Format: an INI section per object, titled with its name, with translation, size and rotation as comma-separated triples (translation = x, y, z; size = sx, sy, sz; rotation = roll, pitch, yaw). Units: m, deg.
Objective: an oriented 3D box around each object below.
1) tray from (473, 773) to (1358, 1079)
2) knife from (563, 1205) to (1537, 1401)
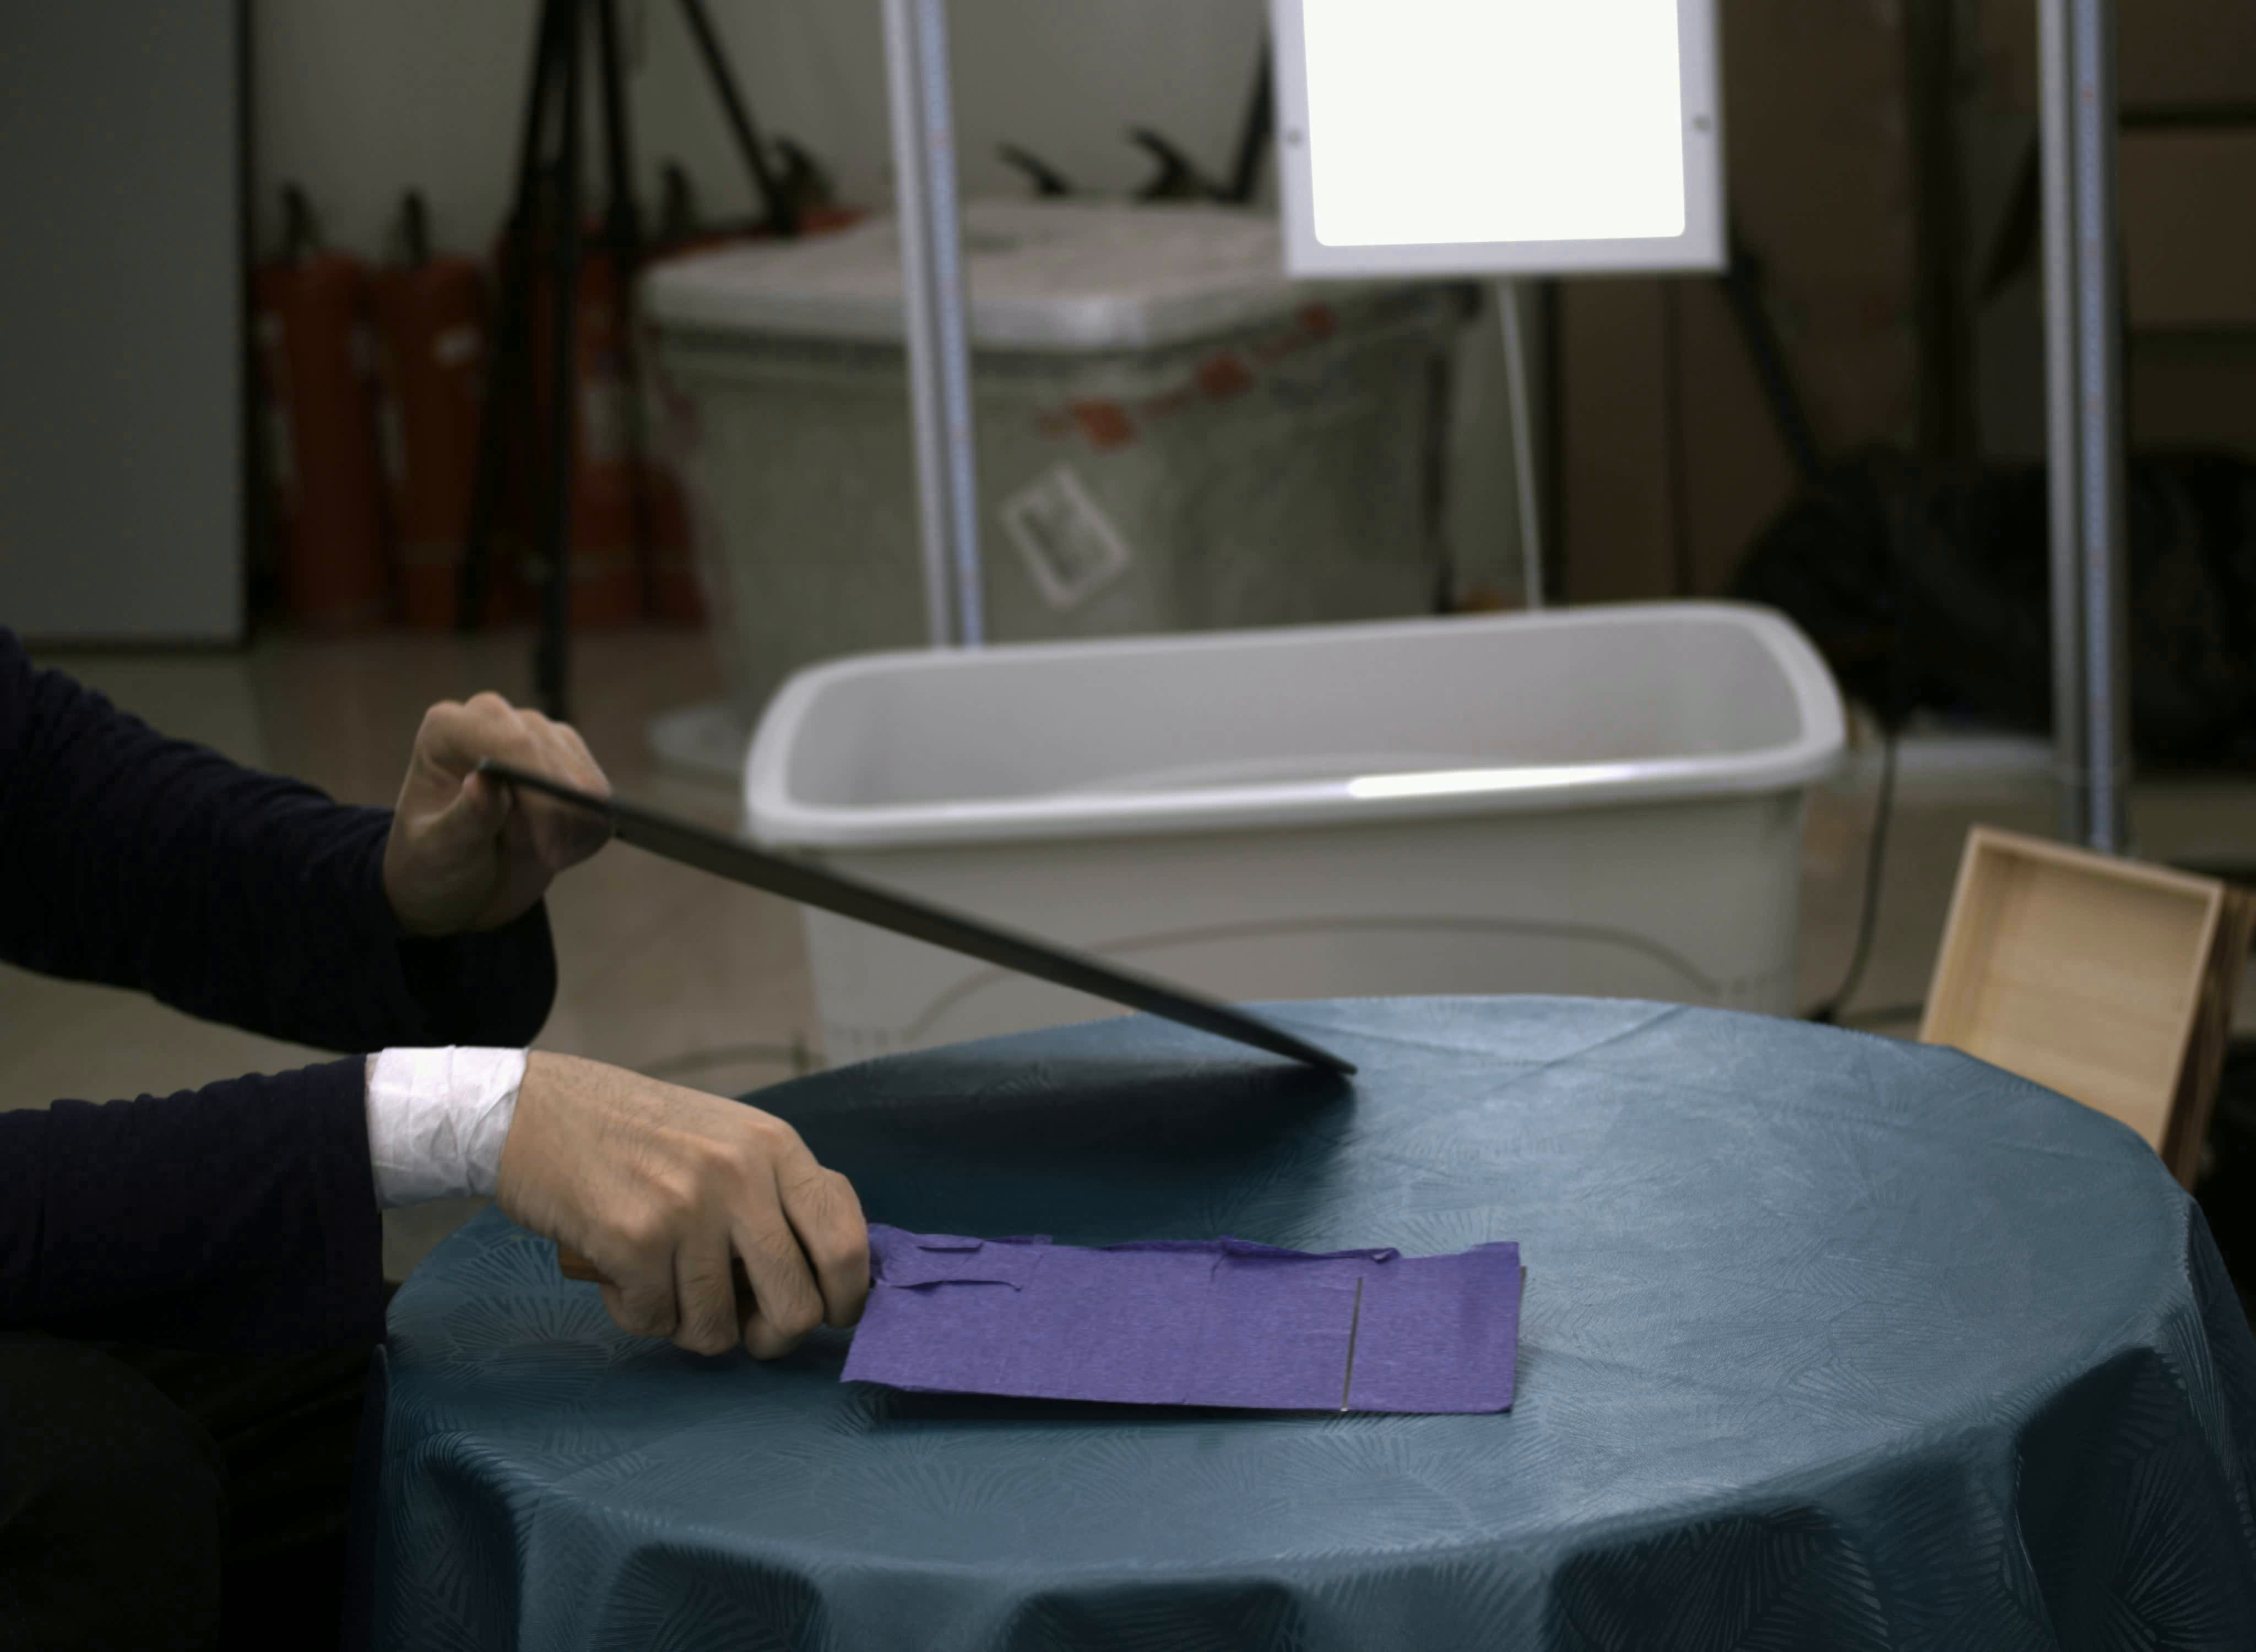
[tray]
translation = -0.081, 0.033, 1.986
size = 0.329, 0.010, 0.208
rotation = 18, -3, 20
[knife]
translation = -0.030, 0.148, 1.721
size = 0.317, 0.032, 0.103
rotation = -1, 25, 11
